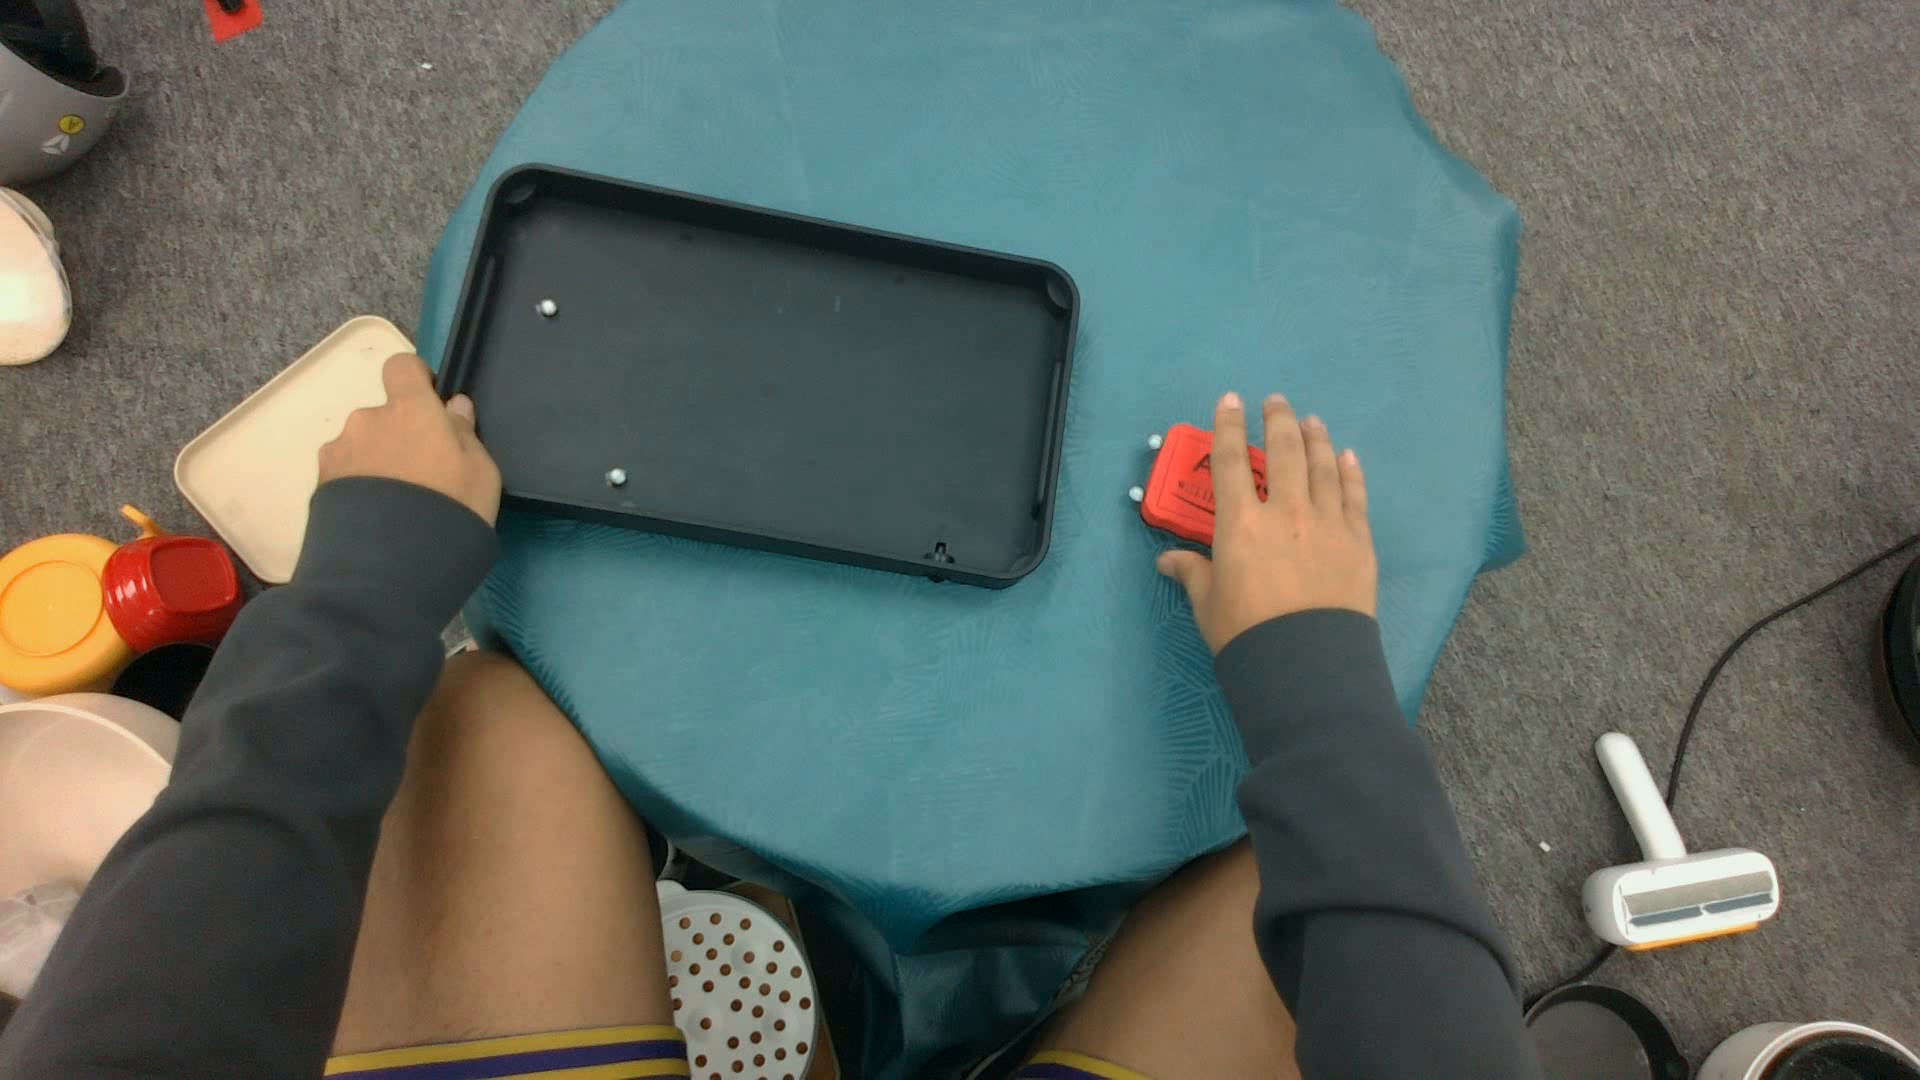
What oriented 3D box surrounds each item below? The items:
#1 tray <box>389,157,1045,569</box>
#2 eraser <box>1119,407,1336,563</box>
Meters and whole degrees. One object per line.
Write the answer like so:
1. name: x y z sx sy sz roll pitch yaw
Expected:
1. tray: -0.119 -0.091 0.727 0.318 0.037 0.185 8 74 -6
2. eraser: 0.144 -0.029 0.745 0.108 0.023 0.059 18 82 -2
